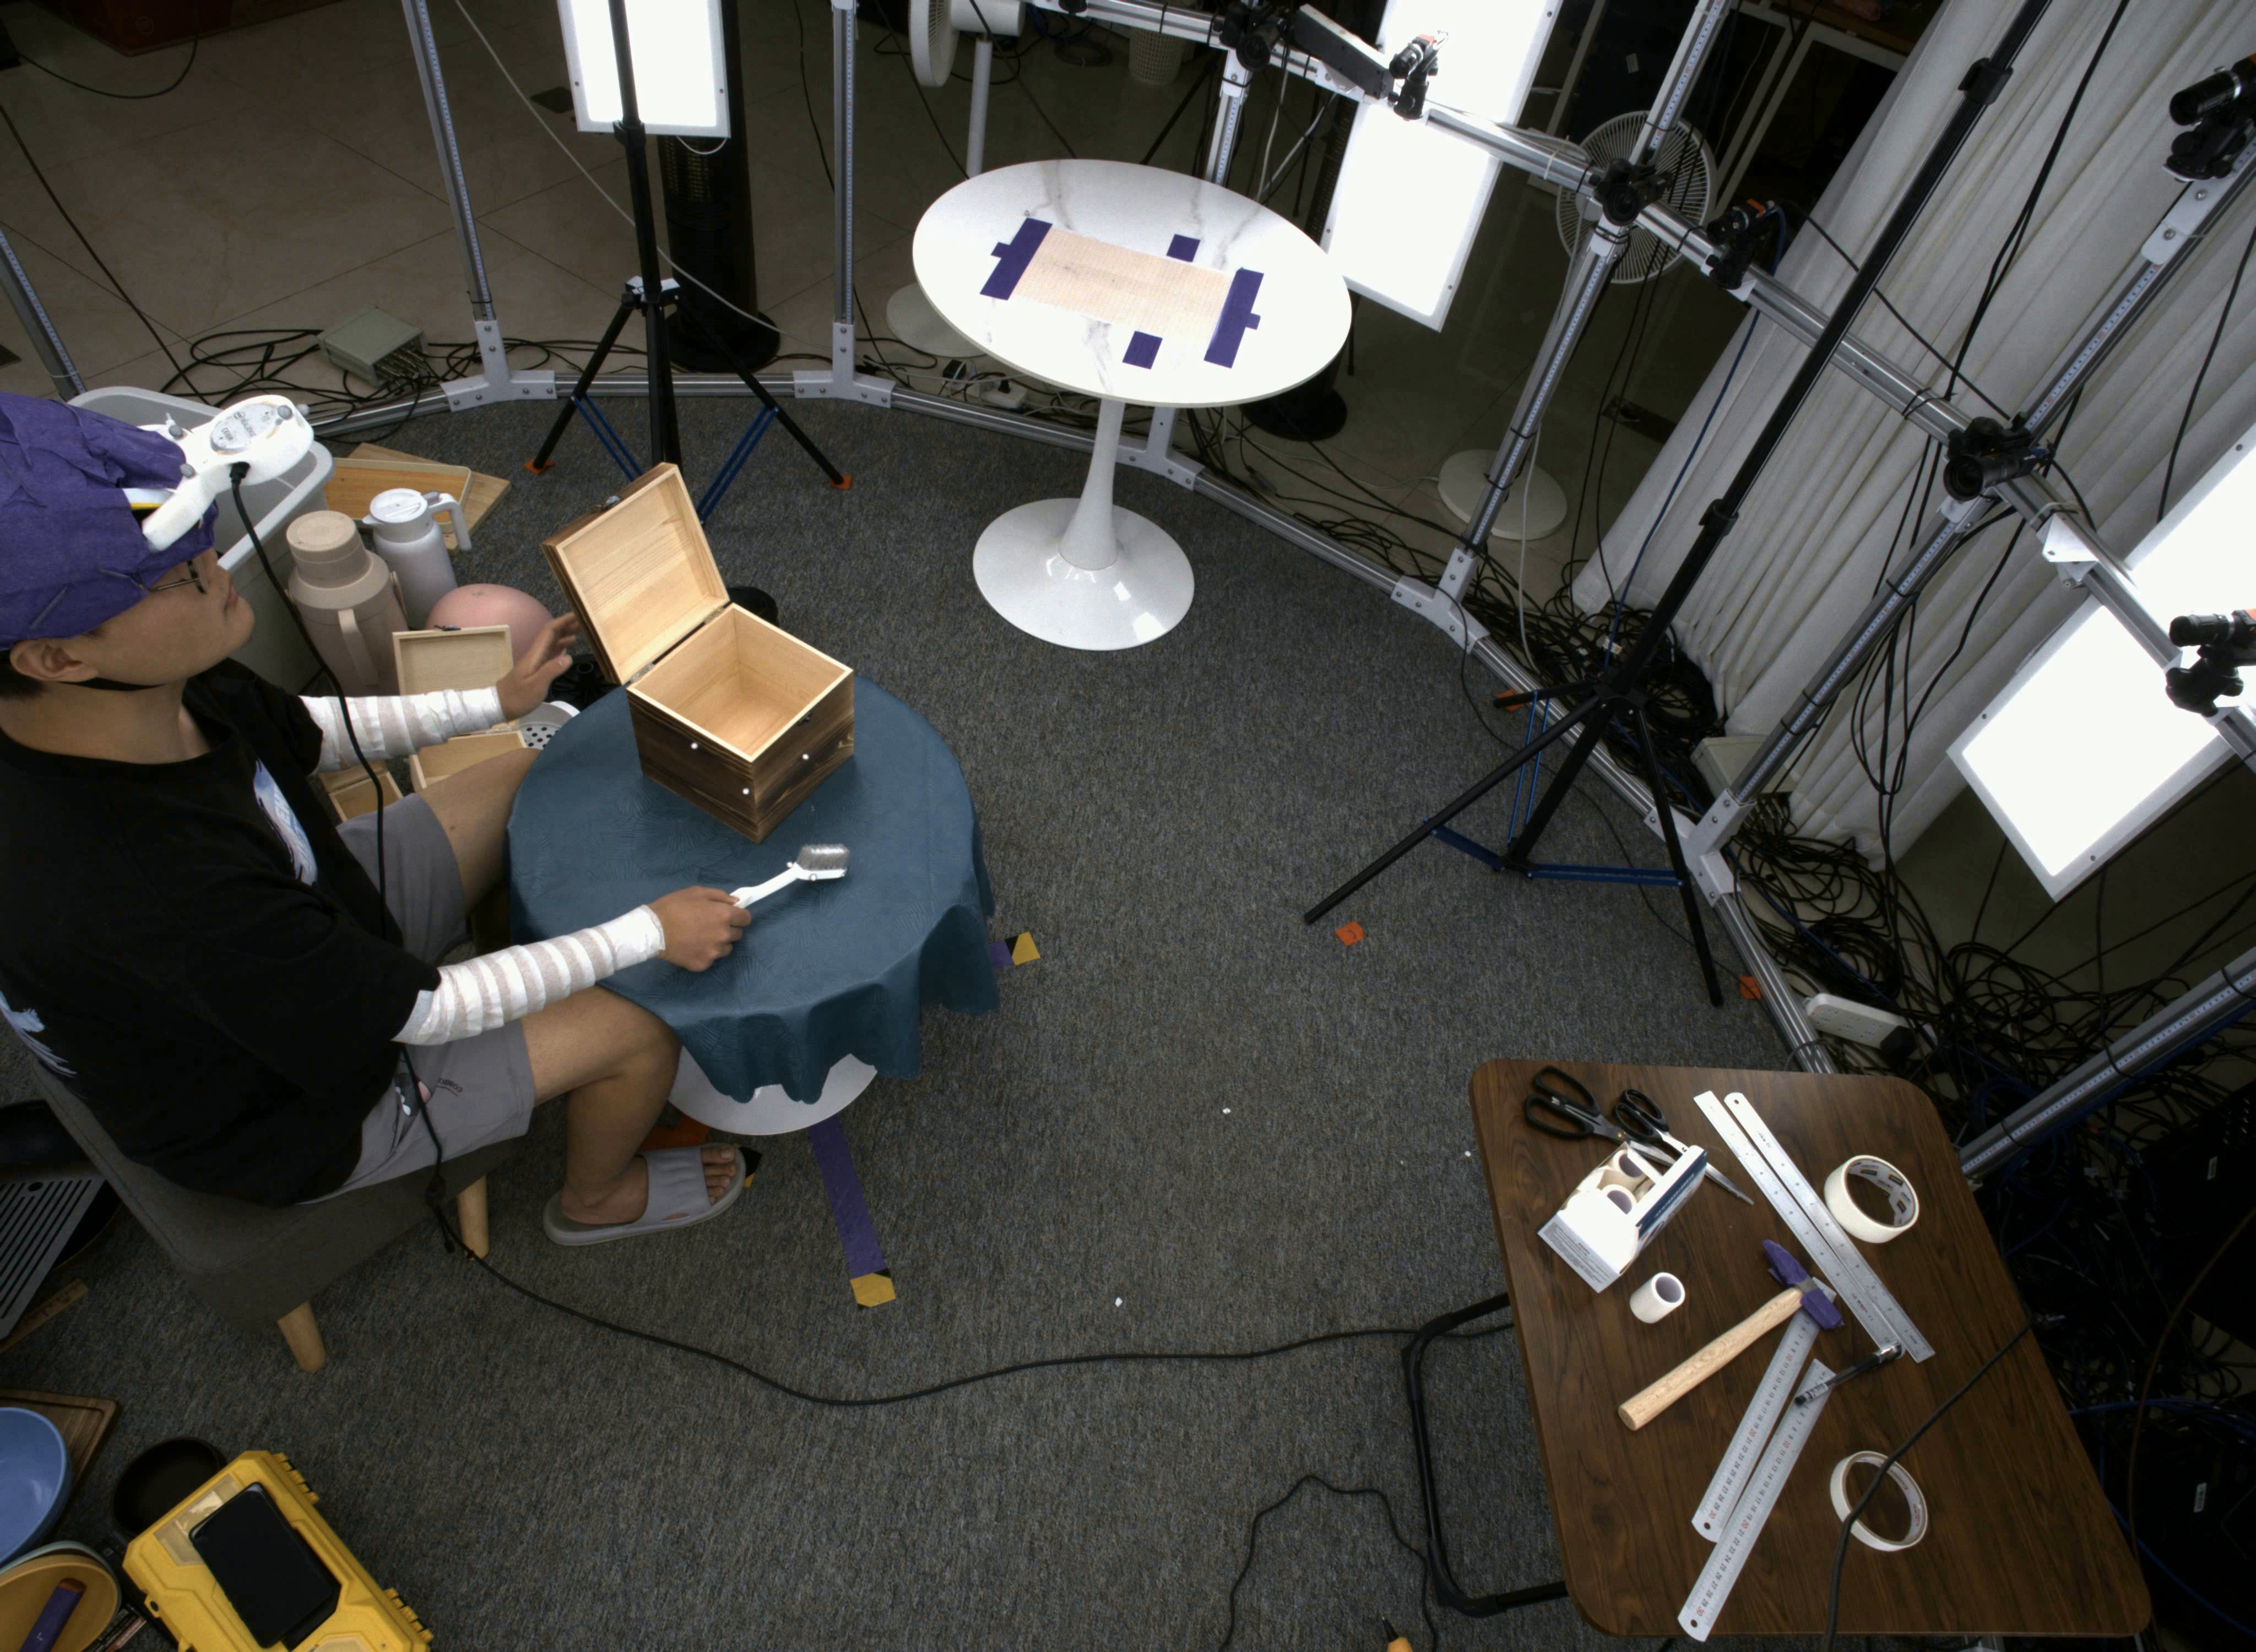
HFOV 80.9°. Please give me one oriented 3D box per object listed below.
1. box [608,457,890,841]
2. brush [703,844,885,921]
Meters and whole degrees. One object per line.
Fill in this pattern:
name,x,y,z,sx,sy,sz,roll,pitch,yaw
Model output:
box,-0.489,-0.229,1.653,0.316,0.383,0.208,30,54,11
brush,-0.419,0.064,1.630,0.246,0.051,0.033,-16,40,-36
